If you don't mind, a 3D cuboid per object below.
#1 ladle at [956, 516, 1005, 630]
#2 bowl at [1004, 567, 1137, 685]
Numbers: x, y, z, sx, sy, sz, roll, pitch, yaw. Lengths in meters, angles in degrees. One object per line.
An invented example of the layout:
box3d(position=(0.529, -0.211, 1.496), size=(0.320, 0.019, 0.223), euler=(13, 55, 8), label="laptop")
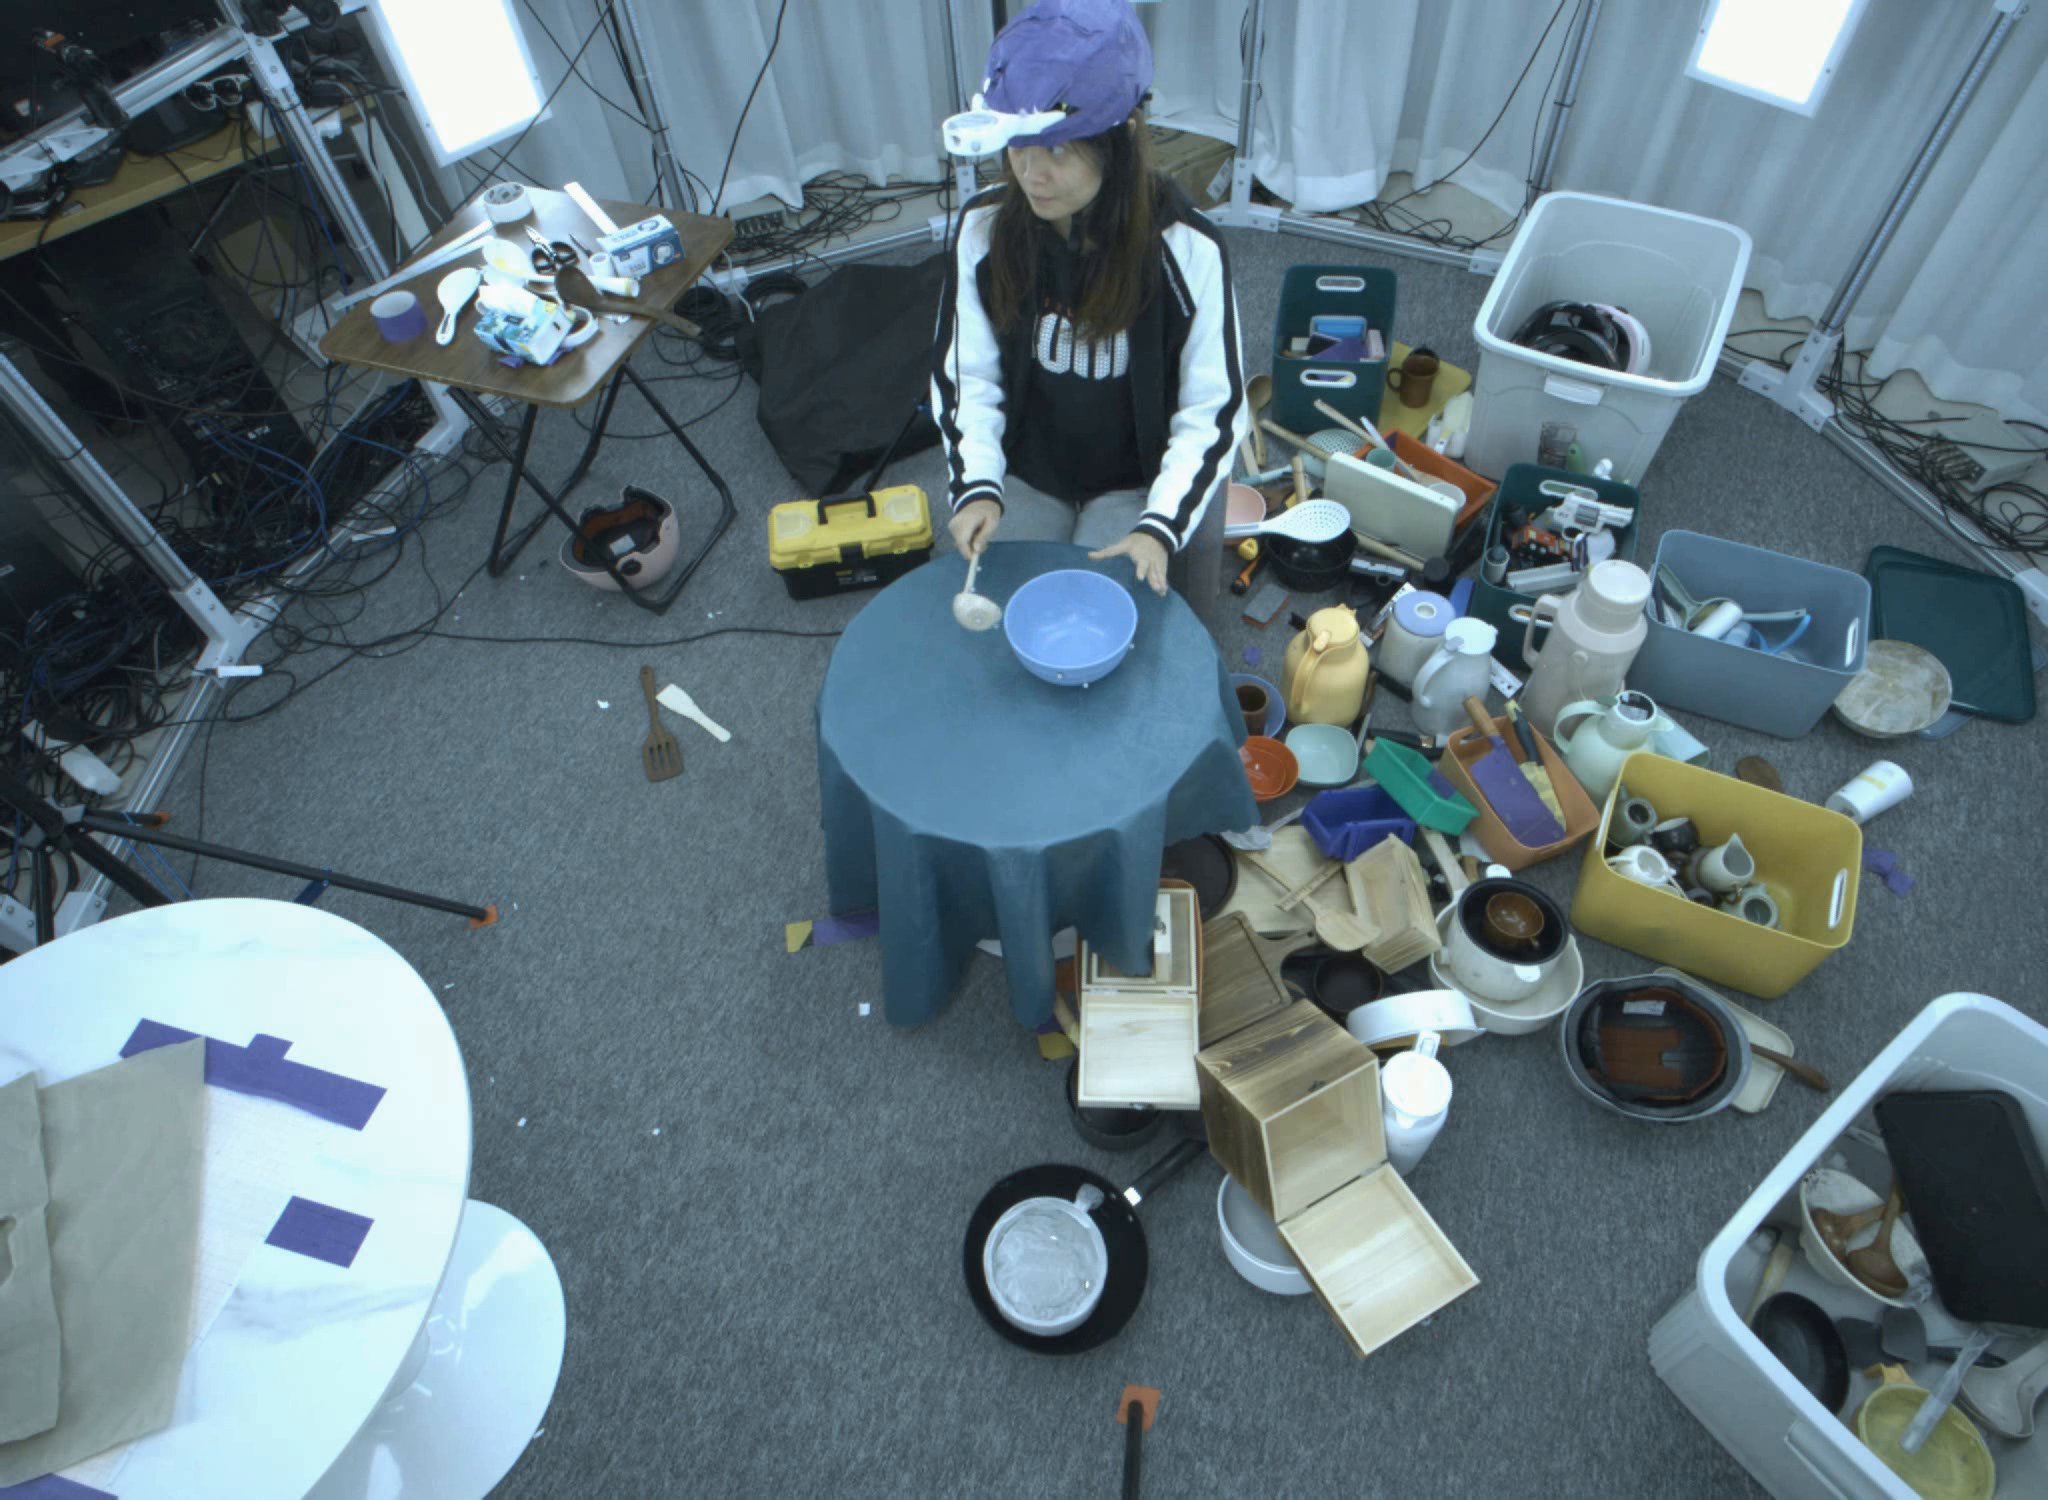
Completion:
box3d(position=(-0.059, -0.284, 1.835), size=(0.072, 0.074, 0.252), euler=(-29, 42, 34), label="ladle")
box3d(position=(0.071, -0.171, 1.846), size=(0.196, 0.096, 0.194), euler=(0, 58, 2), label="bowl")
